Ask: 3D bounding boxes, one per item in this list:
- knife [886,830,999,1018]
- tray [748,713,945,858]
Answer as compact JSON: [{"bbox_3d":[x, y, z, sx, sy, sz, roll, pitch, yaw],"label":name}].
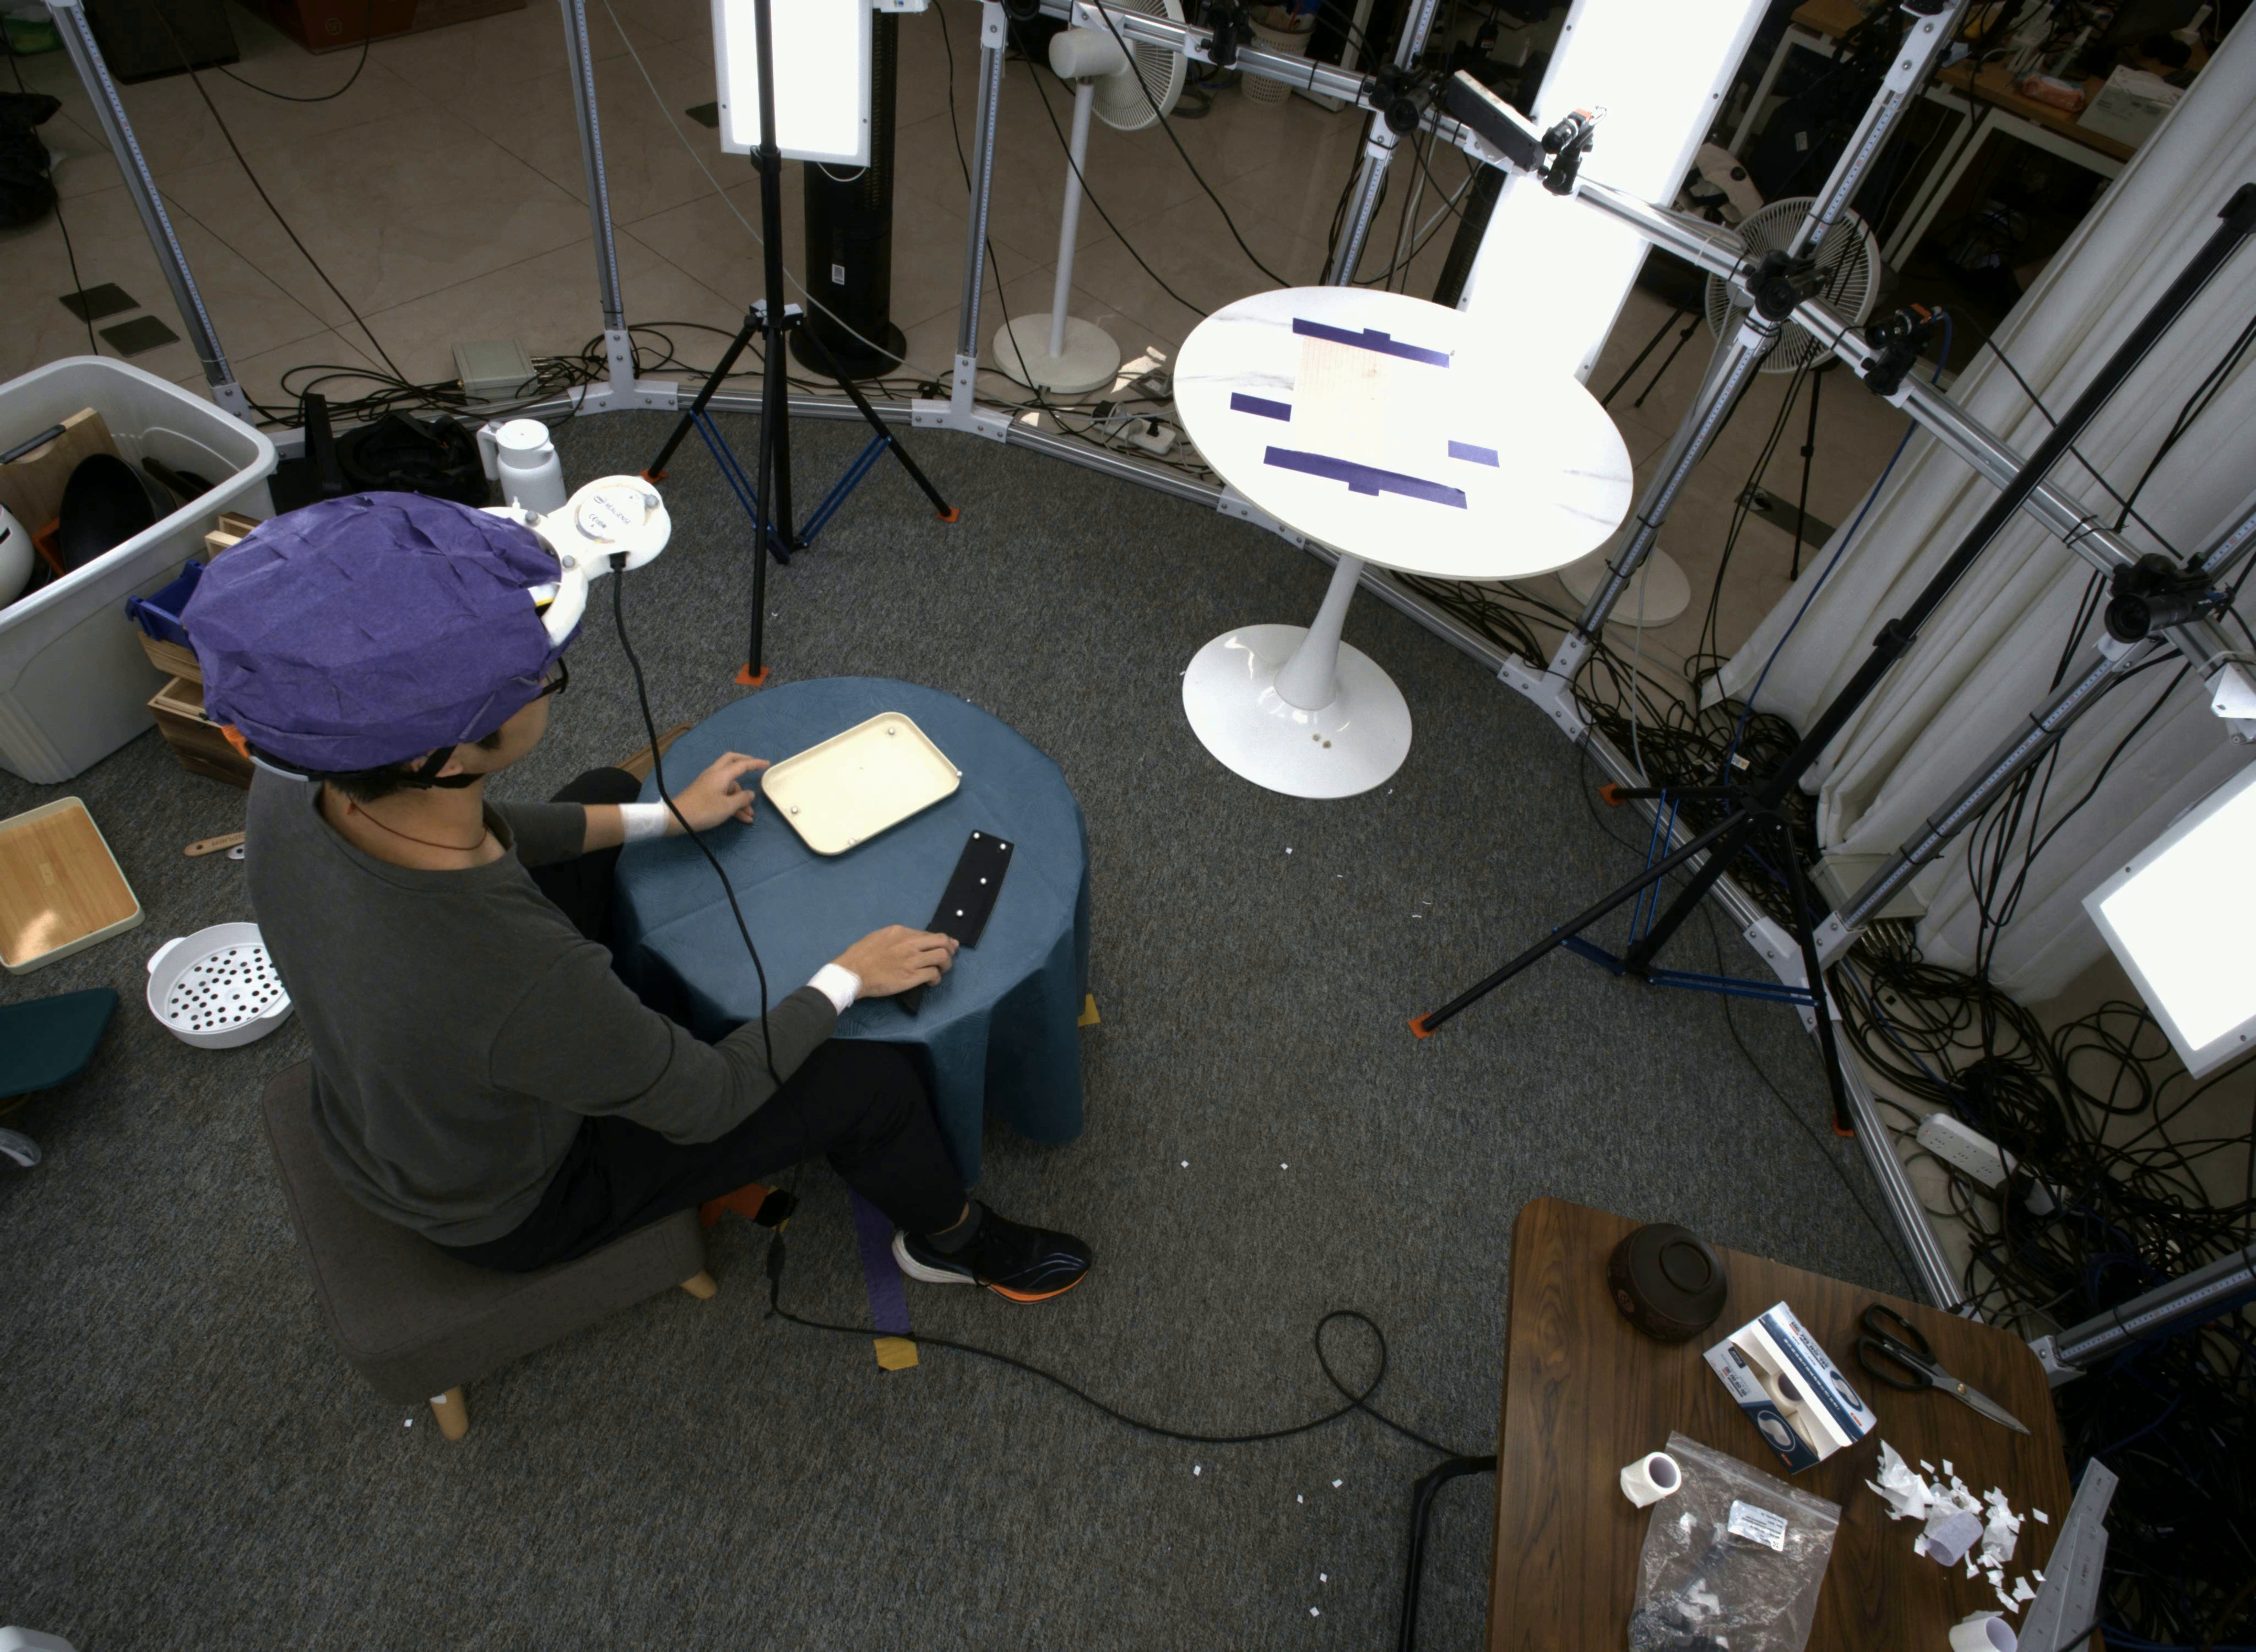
[{"bbox_3d":[-0.239,0.120,1.685,0.080,0.021,0.299,23,50,0],"label":"knife"},{"bbox_3d":[-0.383,-0.058,1.777,0.240,0.018,0.167,-33,67,-32],"label":"tray"}]
